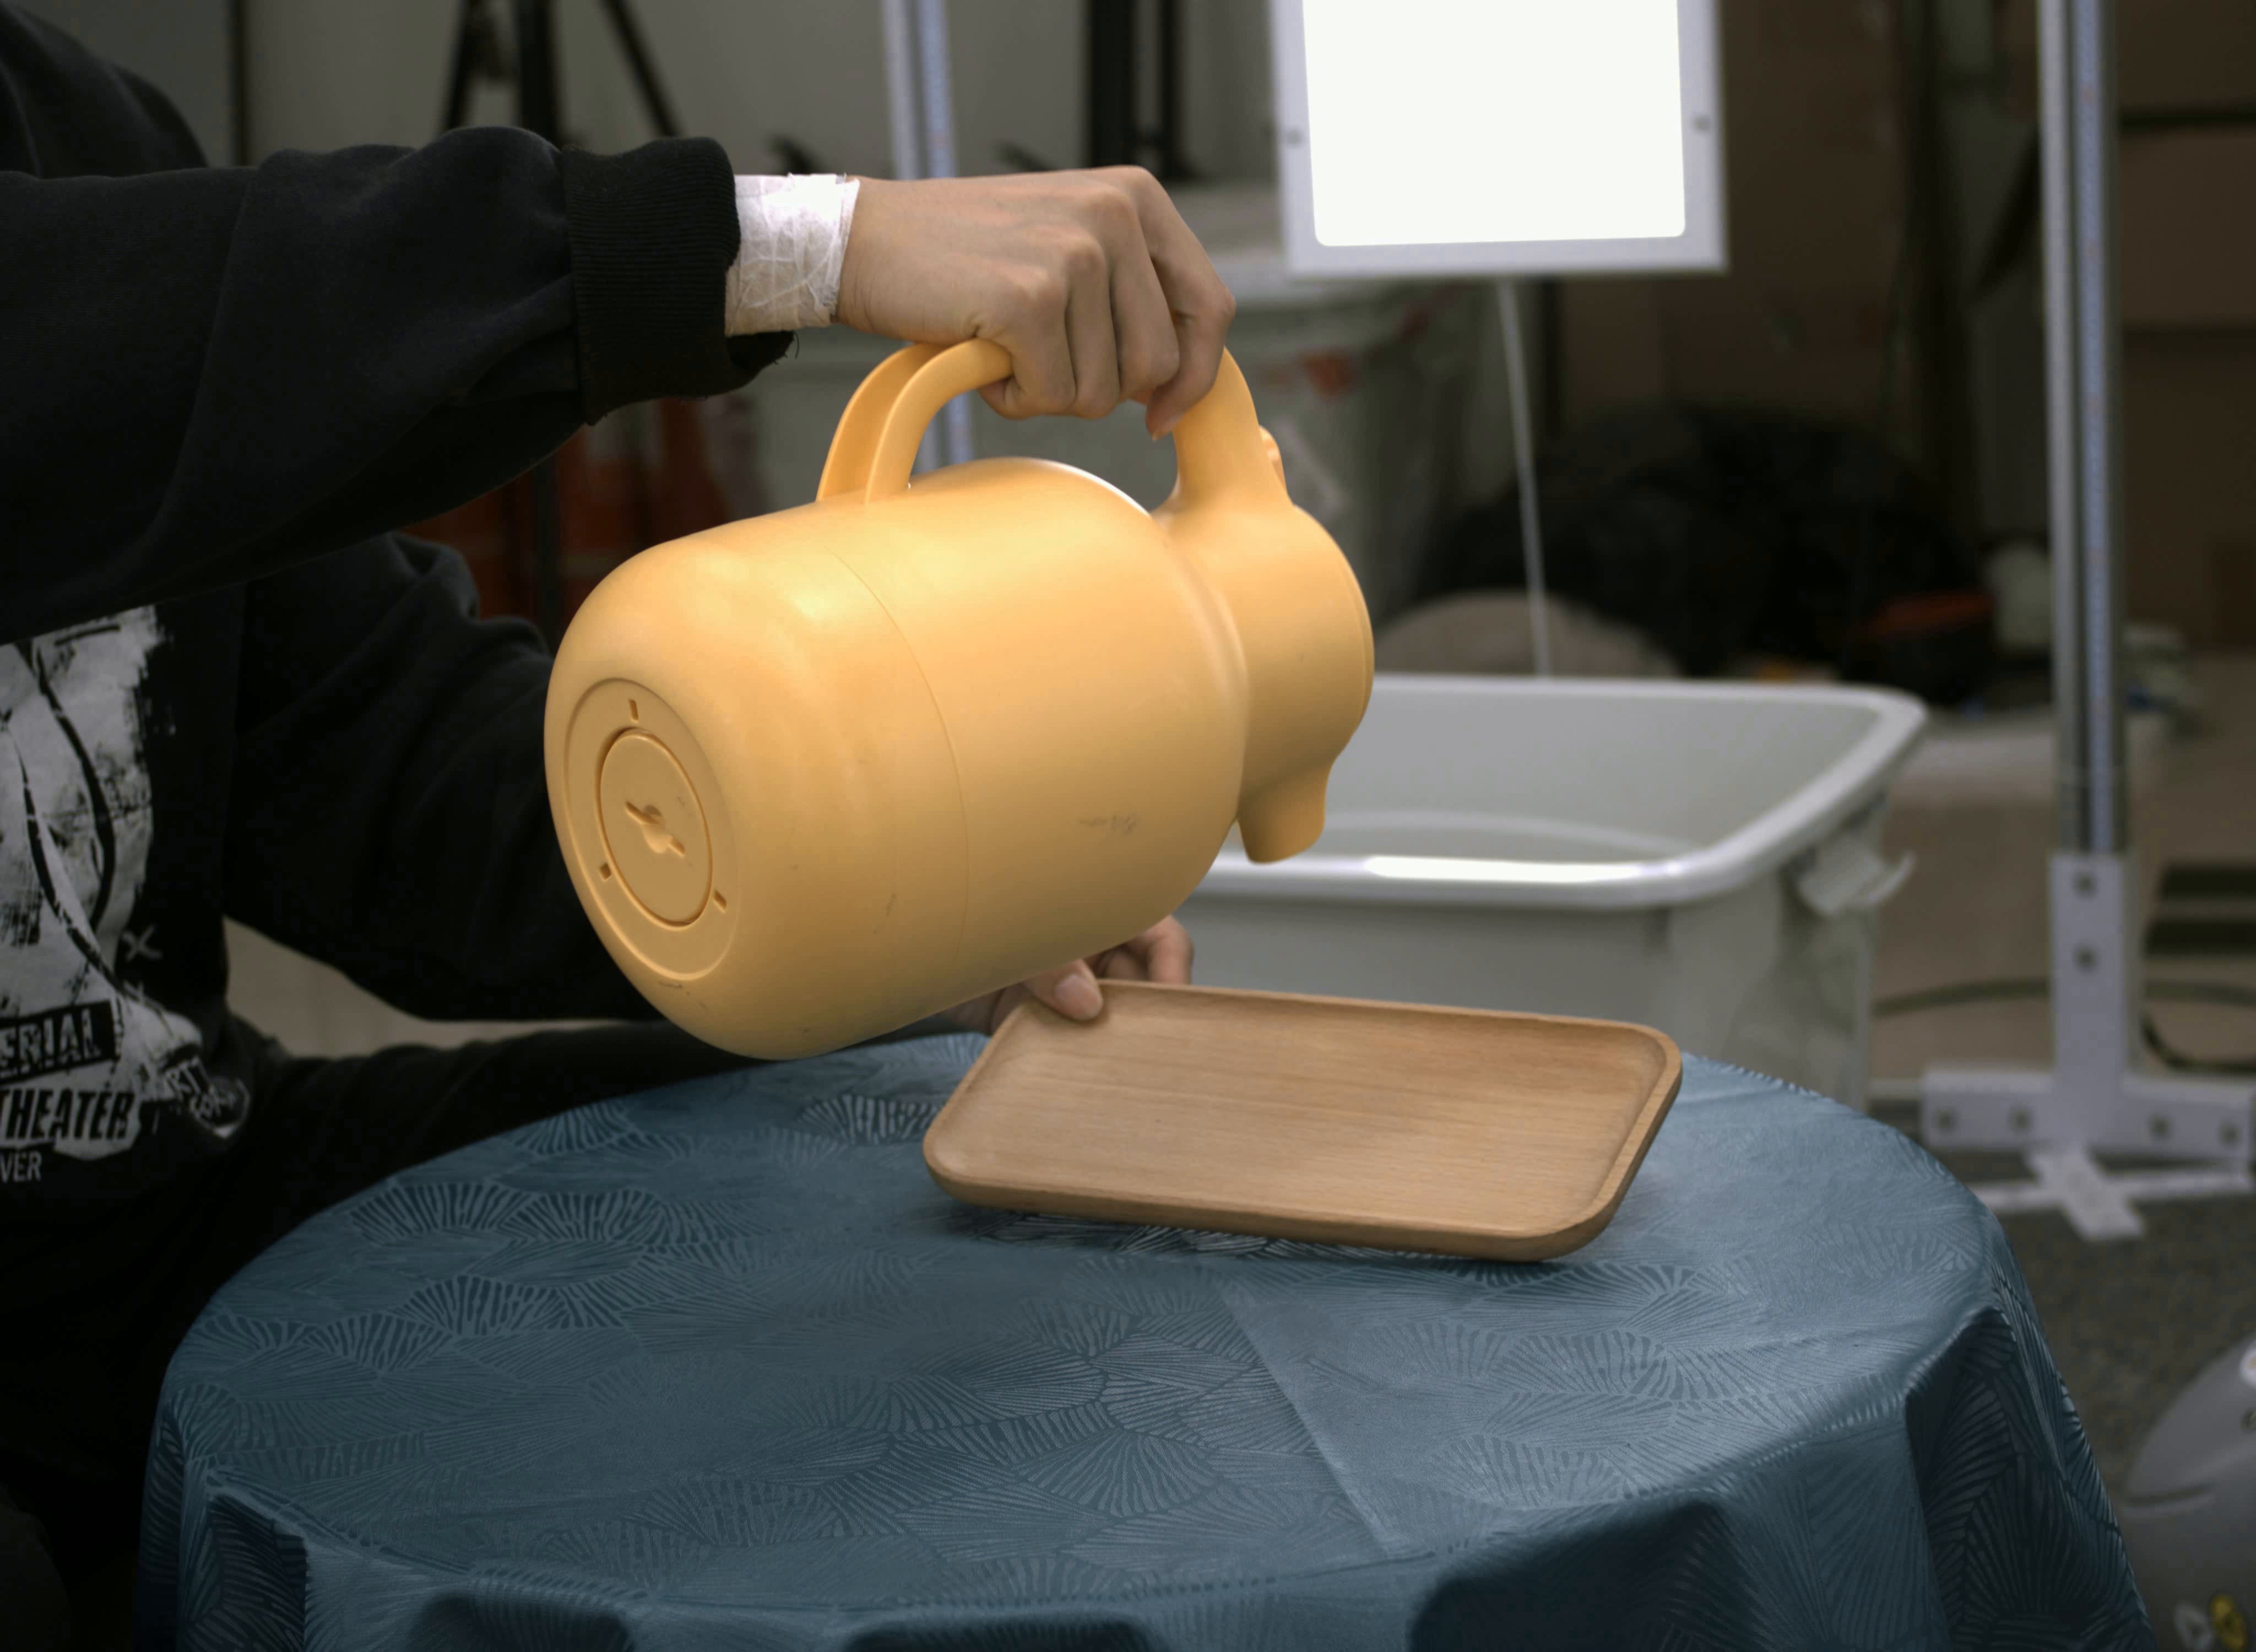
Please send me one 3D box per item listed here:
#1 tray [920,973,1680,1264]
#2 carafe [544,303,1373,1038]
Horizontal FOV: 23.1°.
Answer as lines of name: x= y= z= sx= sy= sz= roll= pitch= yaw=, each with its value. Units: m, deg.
tray: x=0.058 y=0.099 z=1.872 sx=0.255 sy=0.023 sz=0.128 roll=4 pitch=32 yaw=27
carafe: x=-0.048 y=-0.055 z=1.720 sx=0.254 sy=0.203 sz=0.167 roll=-15 pitch=10 yaw=-36
